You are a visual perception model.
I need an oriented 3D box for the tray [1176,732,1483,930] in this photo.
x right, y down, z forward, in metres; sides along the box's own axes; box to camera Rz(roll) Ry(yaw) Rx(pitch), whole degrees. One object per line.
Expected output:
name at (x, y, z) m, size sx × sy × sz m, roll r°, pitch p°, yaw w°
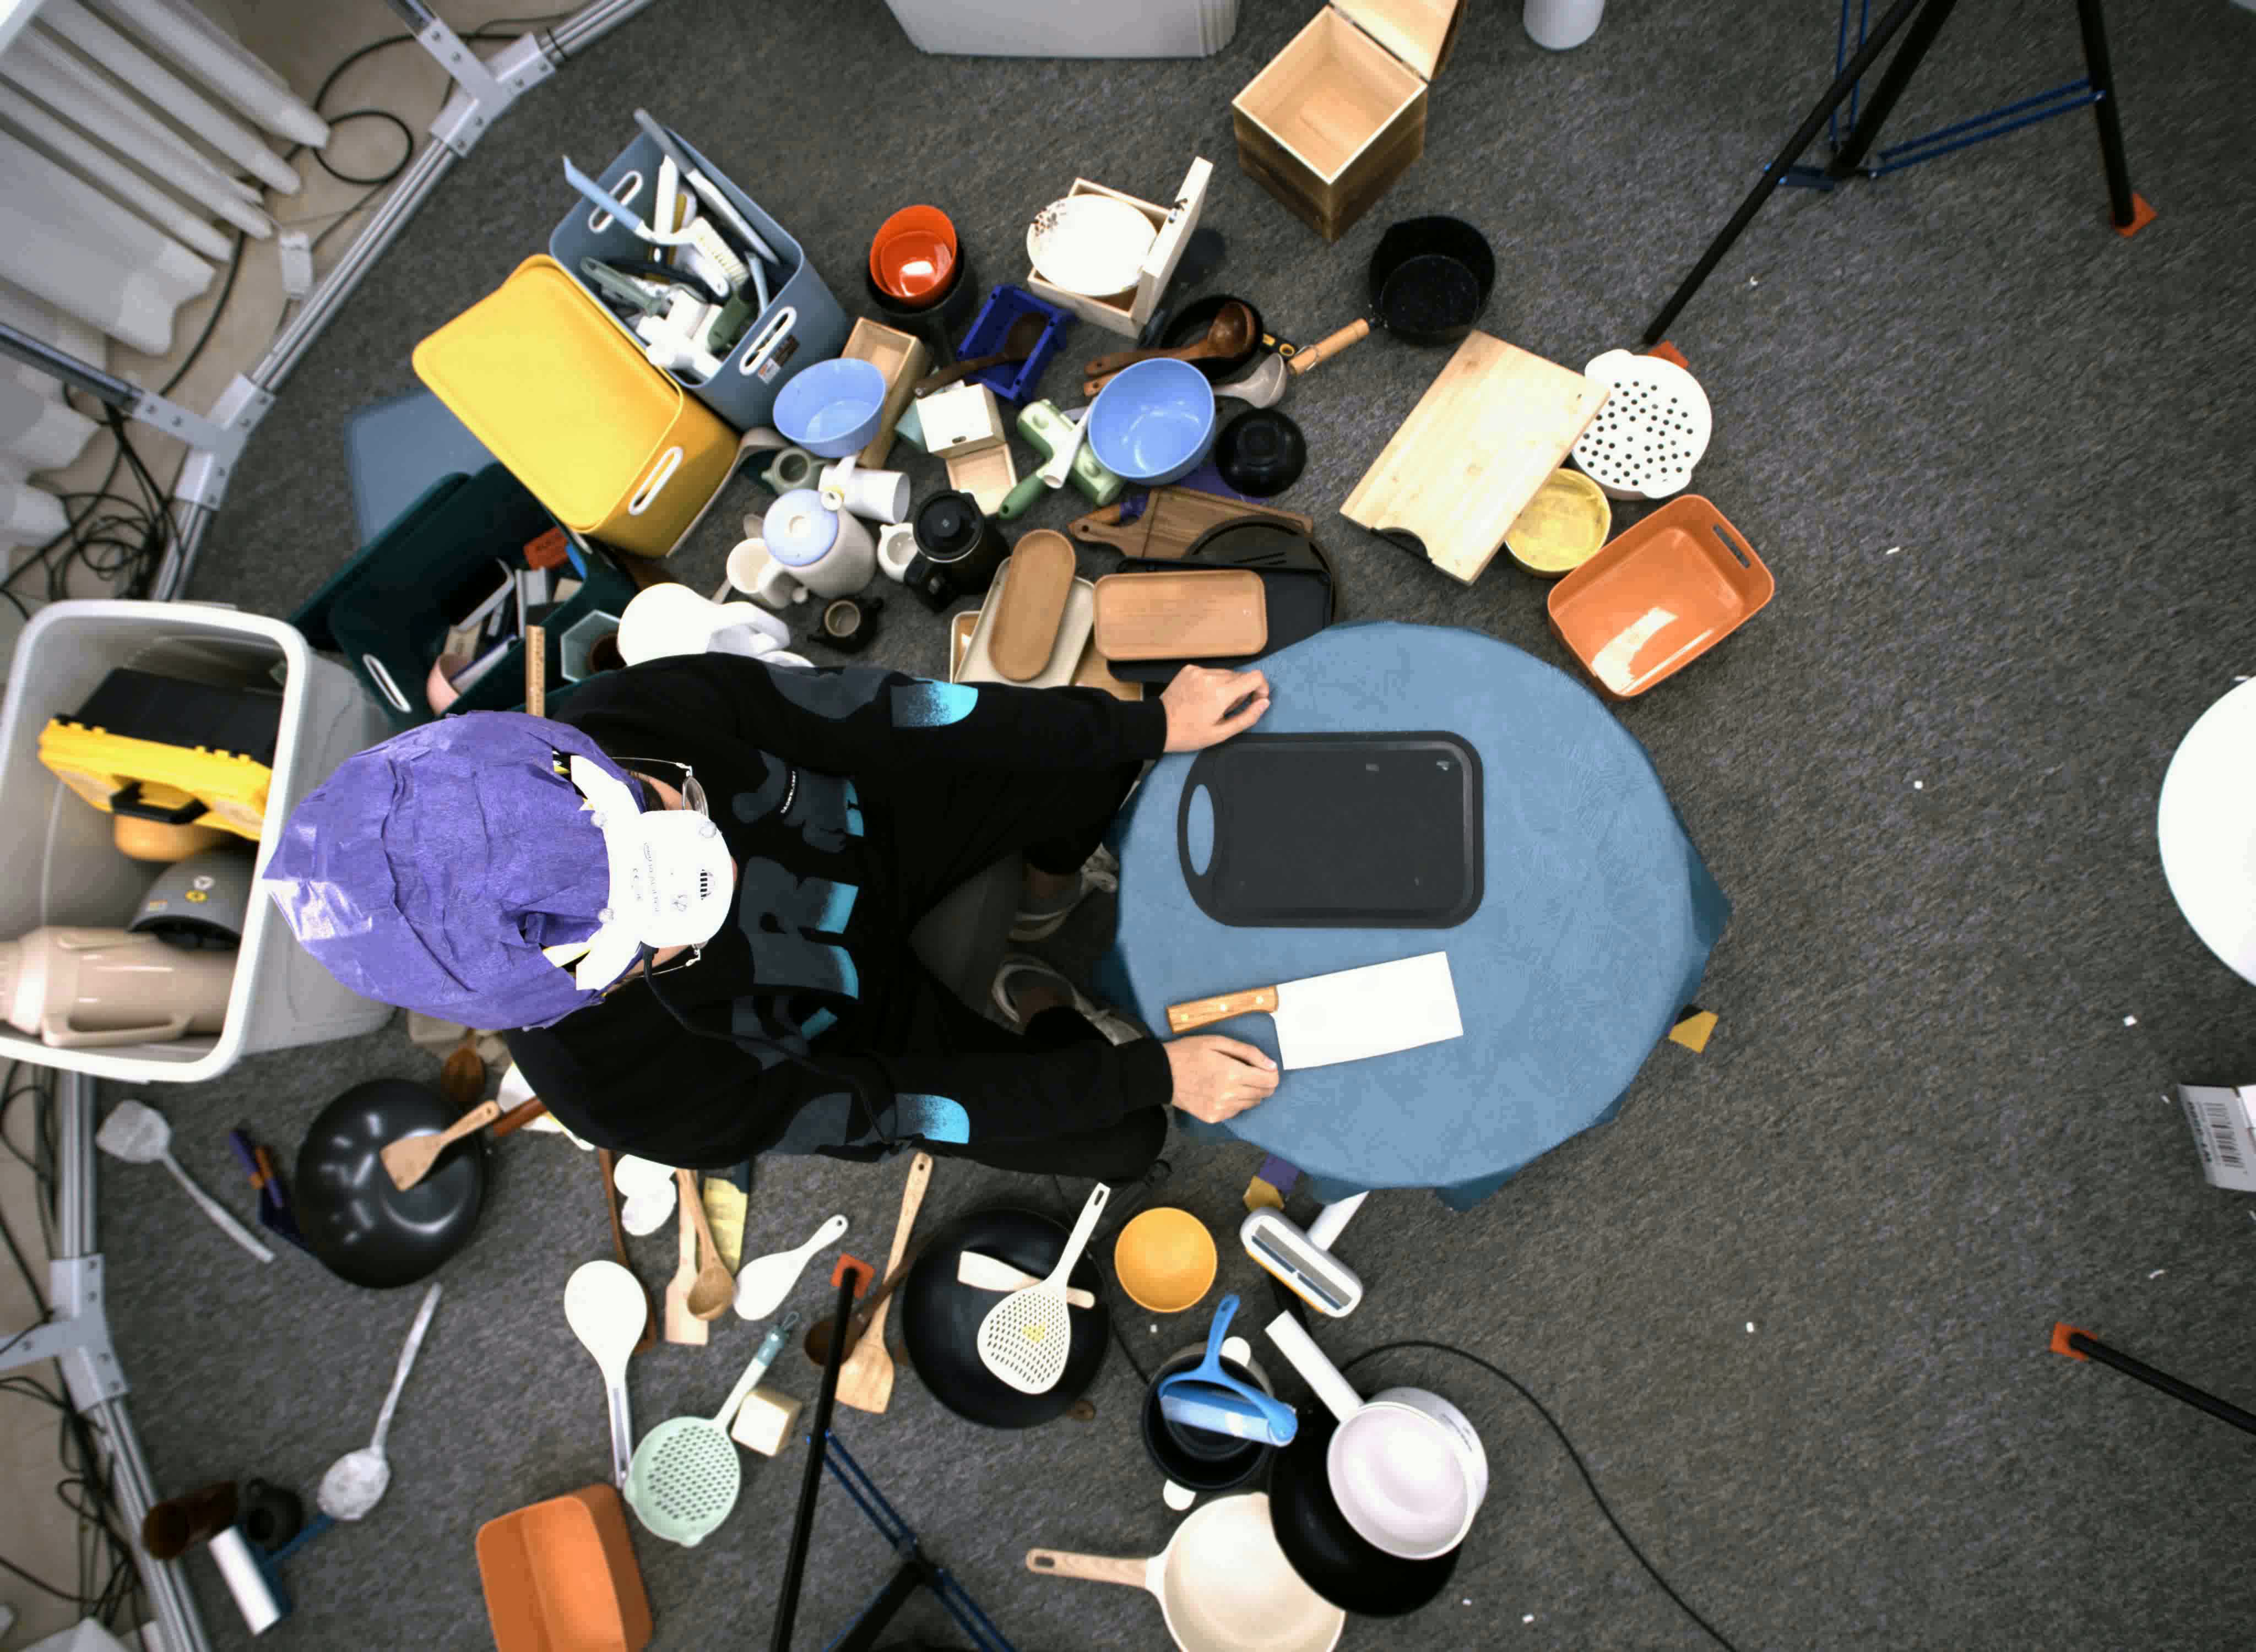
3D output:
tray at (0.212, 0.003, 1.471) m, size 0.326 × 0.010 × 0.210 m, roll 0°, pitch 87°, yaw 10°

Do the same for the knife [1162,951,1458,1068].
knife at (0.192, 0.203, 1.460) m, size 0.307 × 0.021 × 0.092 m, roll -12°, pitch 86°, yaw 7°
